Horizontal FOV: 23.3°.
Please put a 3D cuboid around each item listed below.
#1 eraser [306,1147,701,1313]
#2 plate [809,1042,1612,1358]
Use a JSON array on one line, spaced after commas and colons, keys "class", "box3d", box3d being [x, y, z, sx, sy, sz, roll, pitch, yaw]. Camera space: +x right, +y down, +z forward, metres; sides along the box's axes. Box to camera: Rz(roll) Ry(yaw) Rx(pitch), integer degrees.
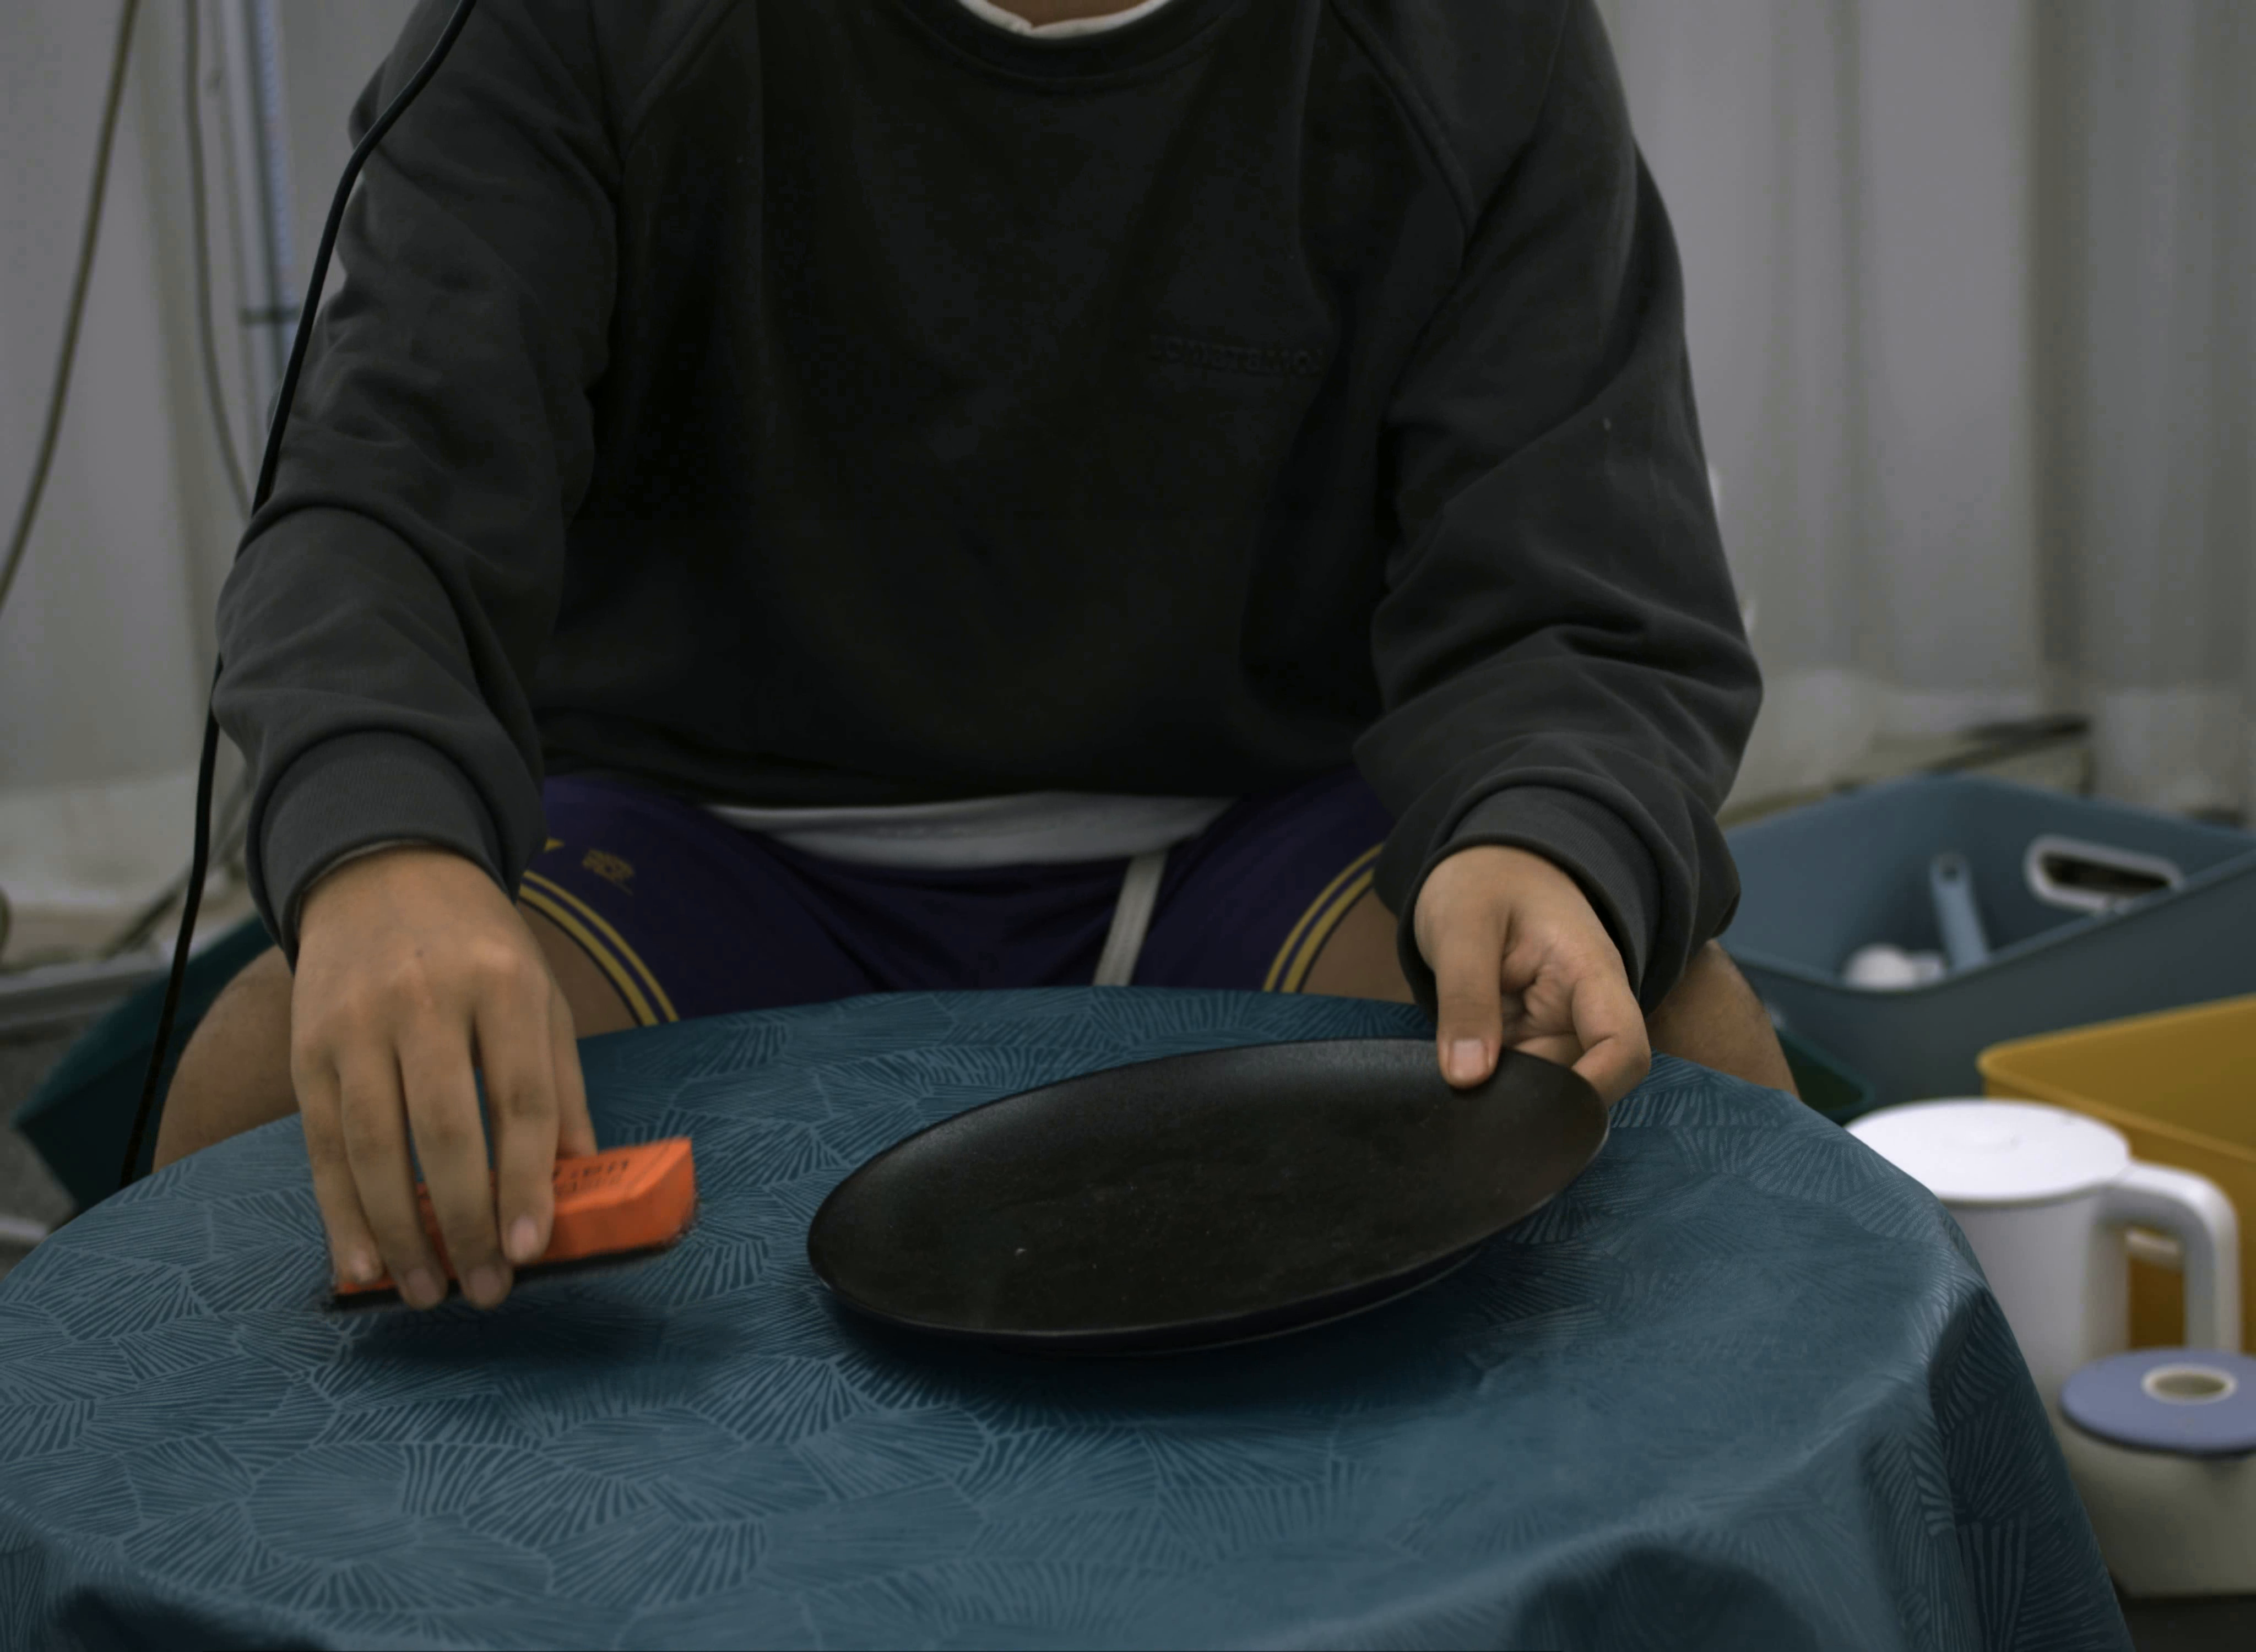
[{"class": "eraser", "box3d": [-0.183, 0.119, 1.612, 0.108, 0.023, 0.059, -8, 14, 15]}, {"class": "plate", "box3d": [0.026, 0.114, 1.633, 0.243, 0.023, 0.246, -9, 15, 2]}]
